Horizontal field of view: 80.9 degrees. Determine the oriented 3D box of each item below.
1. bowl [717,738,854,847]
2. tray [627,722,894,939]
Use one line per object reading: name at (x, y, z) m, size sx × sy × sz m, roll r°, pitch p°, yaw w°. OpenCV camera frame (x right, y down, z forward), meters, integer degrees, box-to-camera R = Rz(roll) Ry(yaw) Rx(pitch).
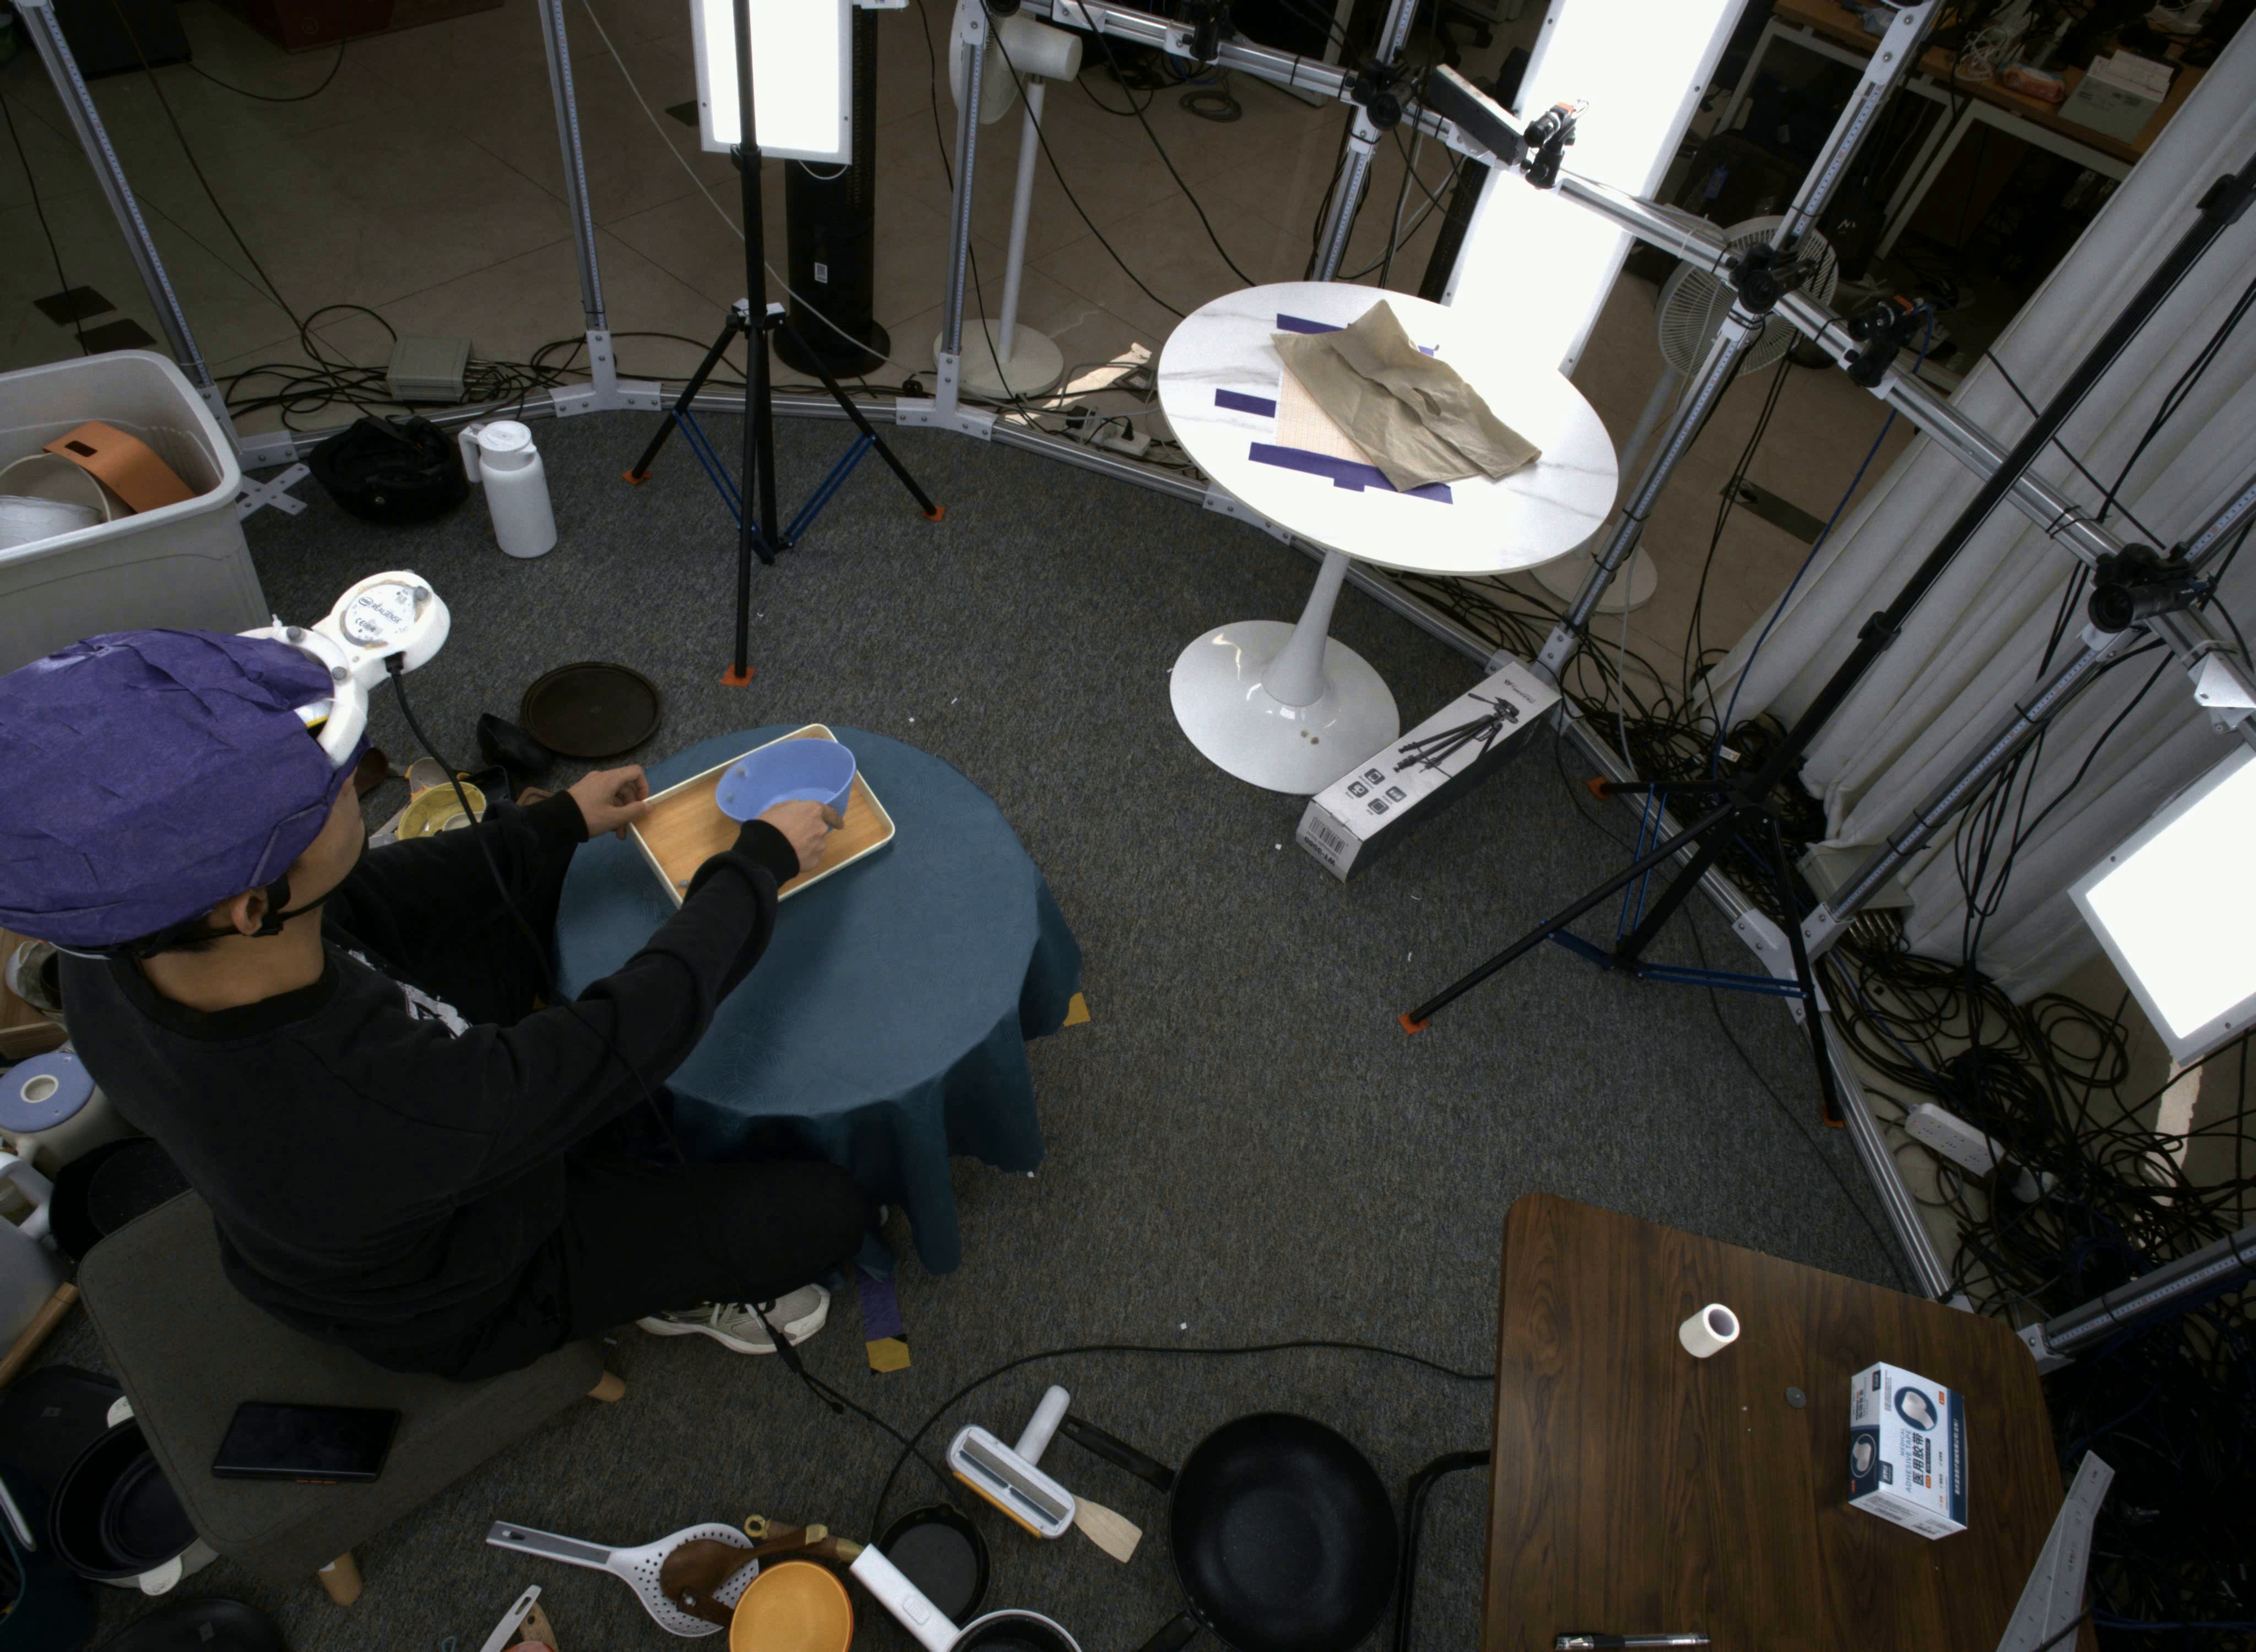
bowl at (-0.418, -0.035, 1.621) m, size 0.173 × 0.073 × 0.172 m, roll -7°, pitch 37°, yaw 7°
tray at (-0.466, -0.001, 1.654) m, size 0.301 × 0.027 × 0.191 m, roll -32°, pitch 85°, yaw -37°
